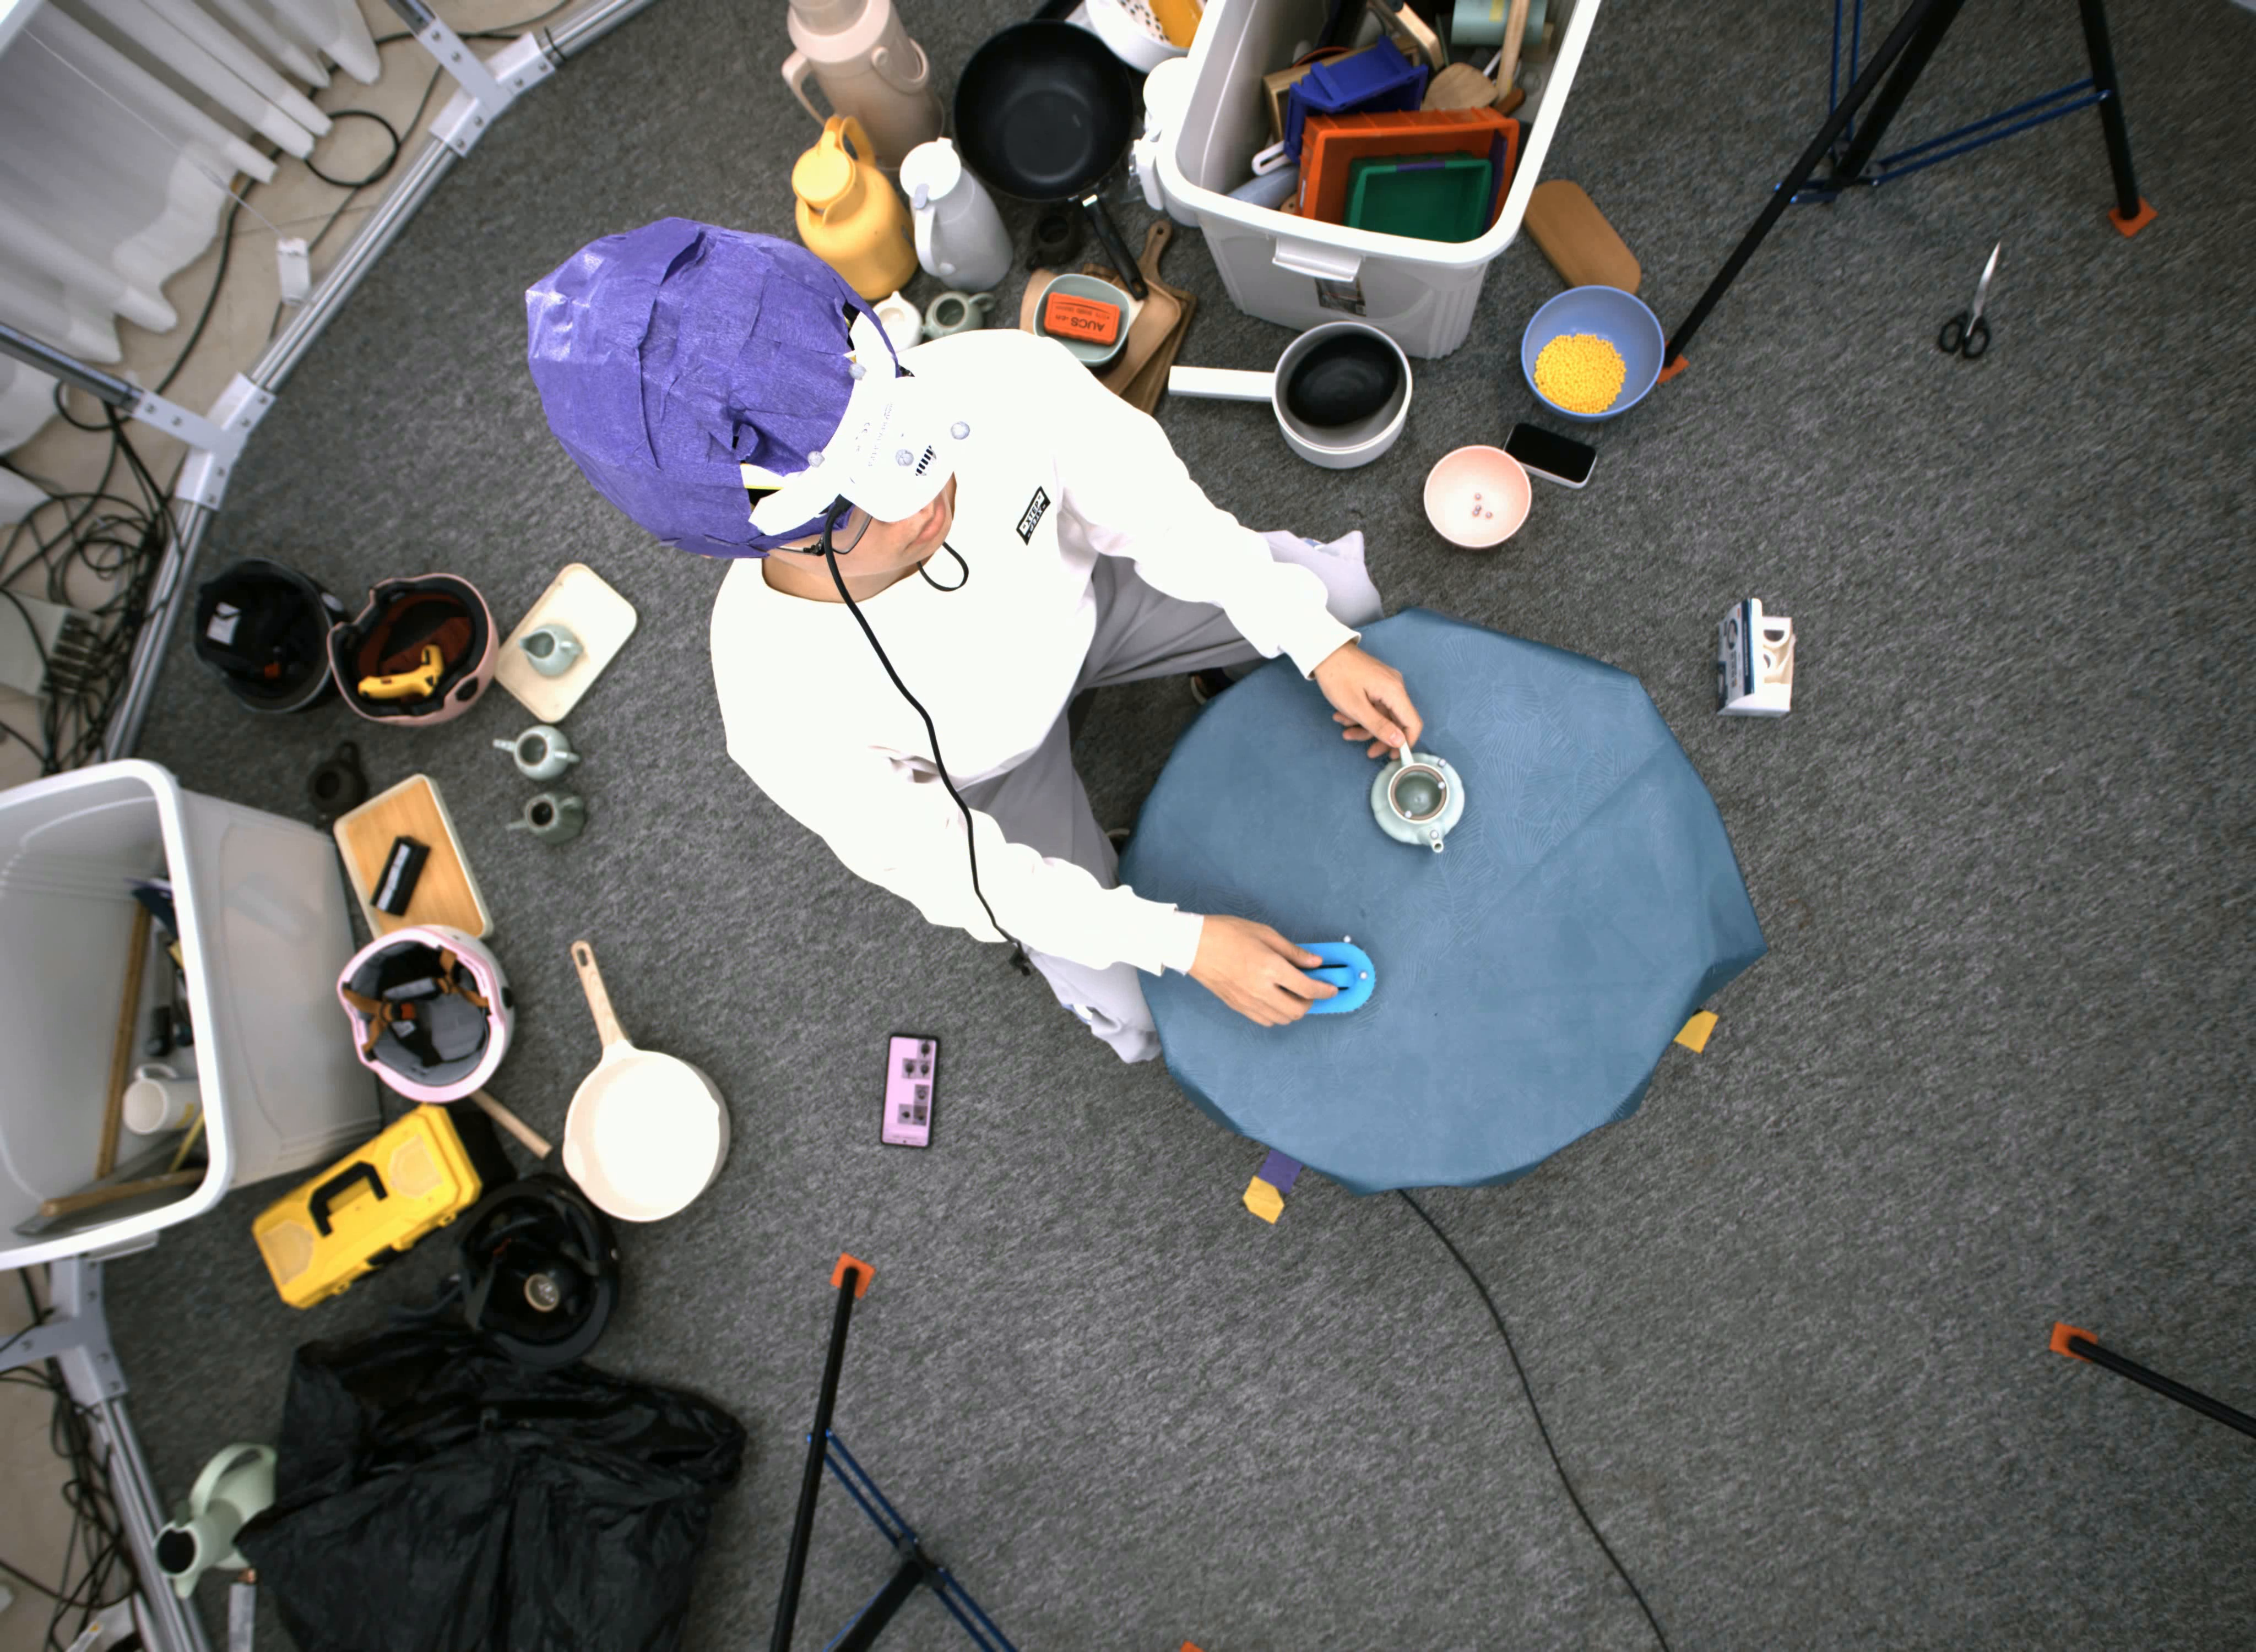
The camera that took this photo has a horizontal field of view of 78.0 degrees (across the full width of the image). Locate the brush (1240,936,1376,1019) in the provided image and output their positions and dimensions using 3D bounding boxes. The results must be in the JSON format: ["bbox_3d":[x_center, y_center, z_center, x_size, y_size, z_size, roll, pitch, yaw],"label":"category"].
[{"bbox_3d":[0.186,0.158,1.438,0.142,0.063,0.084,-4,91,12],"label":"brush"}]

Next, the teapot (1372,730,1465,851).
[{"bbox_3d":[0.300,-0.037,1.430,0.097,0.061,0.136,-22,82,11],"label":"teapot"}]
